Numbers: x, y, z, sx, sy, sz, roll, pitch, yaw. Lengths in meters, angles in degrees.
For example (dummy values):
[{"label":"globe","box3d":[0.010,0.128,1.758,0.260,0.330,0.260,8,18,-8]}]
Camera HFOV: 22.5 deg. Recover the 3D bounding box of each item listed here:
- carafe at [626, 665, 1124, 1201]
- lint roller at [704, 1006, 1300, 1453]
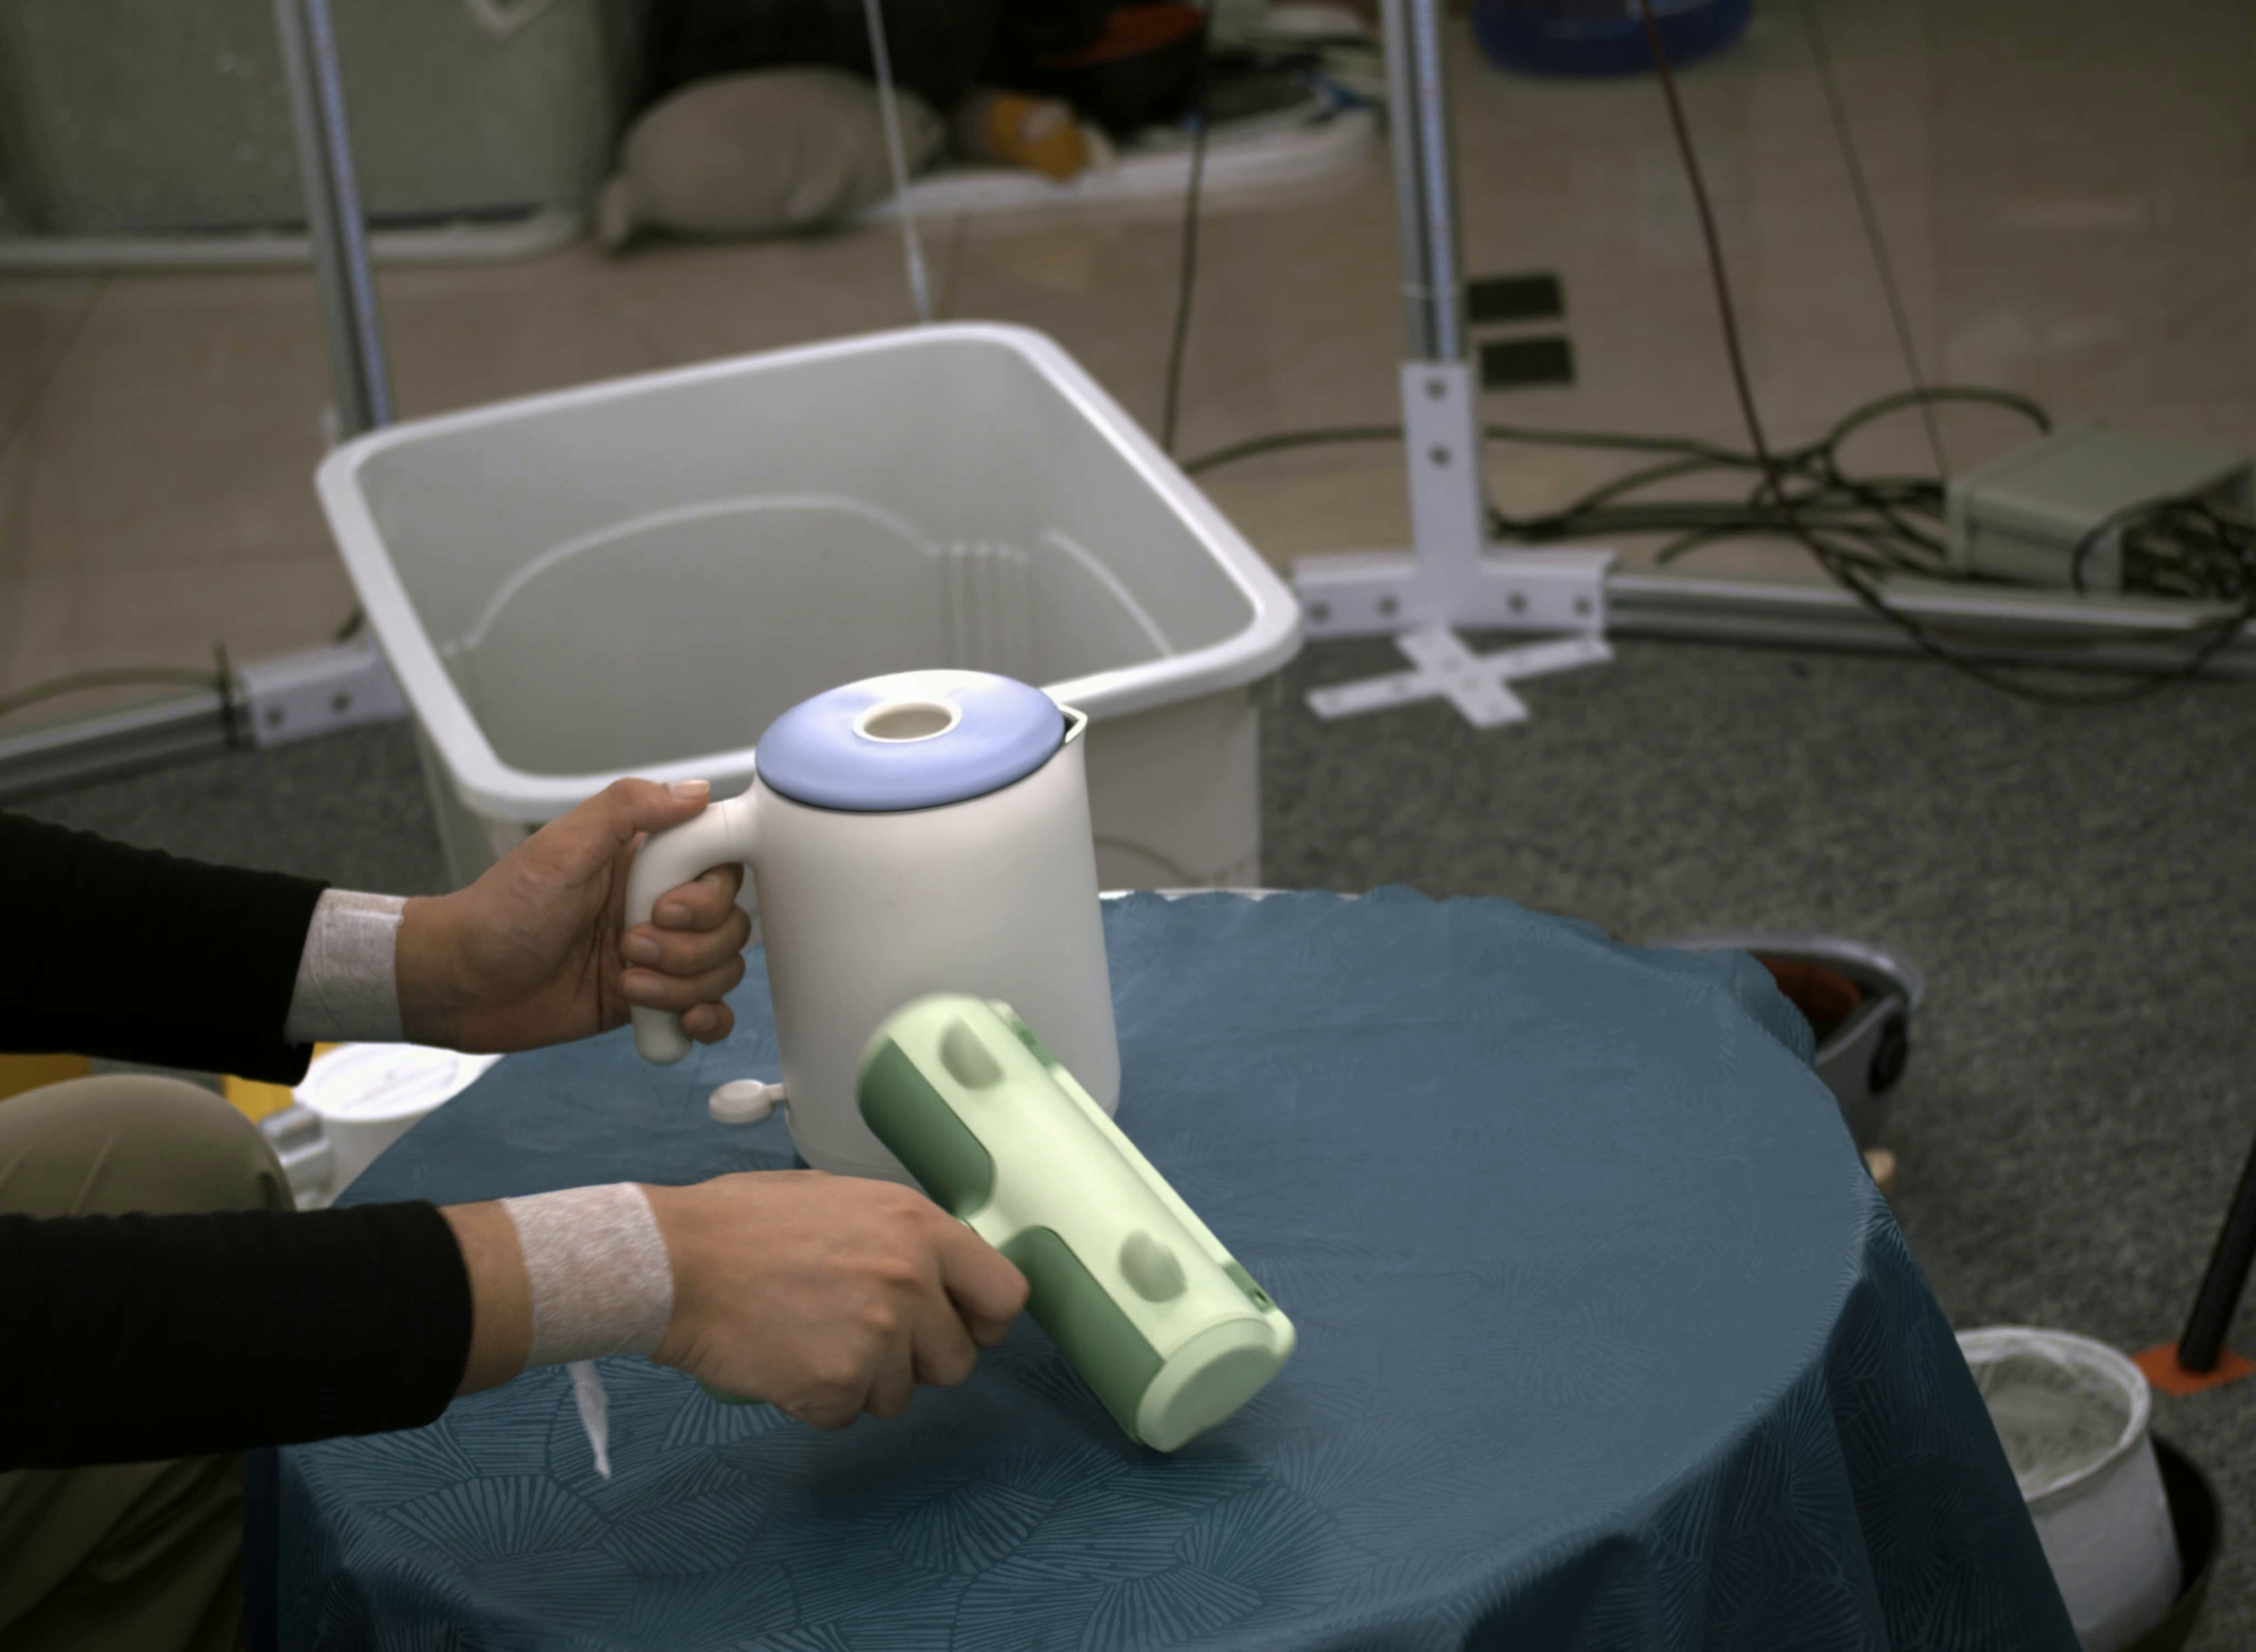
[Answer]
[{"label":"carafe","box3d":[-0.098,0.045,2.167,0.190,0.185,0.130,-12,26,-7]},{"label":"lint roller","box3d":[-0.065,0.146,1.979,0.182,0.084,0.196,-16,46,-32]}]
